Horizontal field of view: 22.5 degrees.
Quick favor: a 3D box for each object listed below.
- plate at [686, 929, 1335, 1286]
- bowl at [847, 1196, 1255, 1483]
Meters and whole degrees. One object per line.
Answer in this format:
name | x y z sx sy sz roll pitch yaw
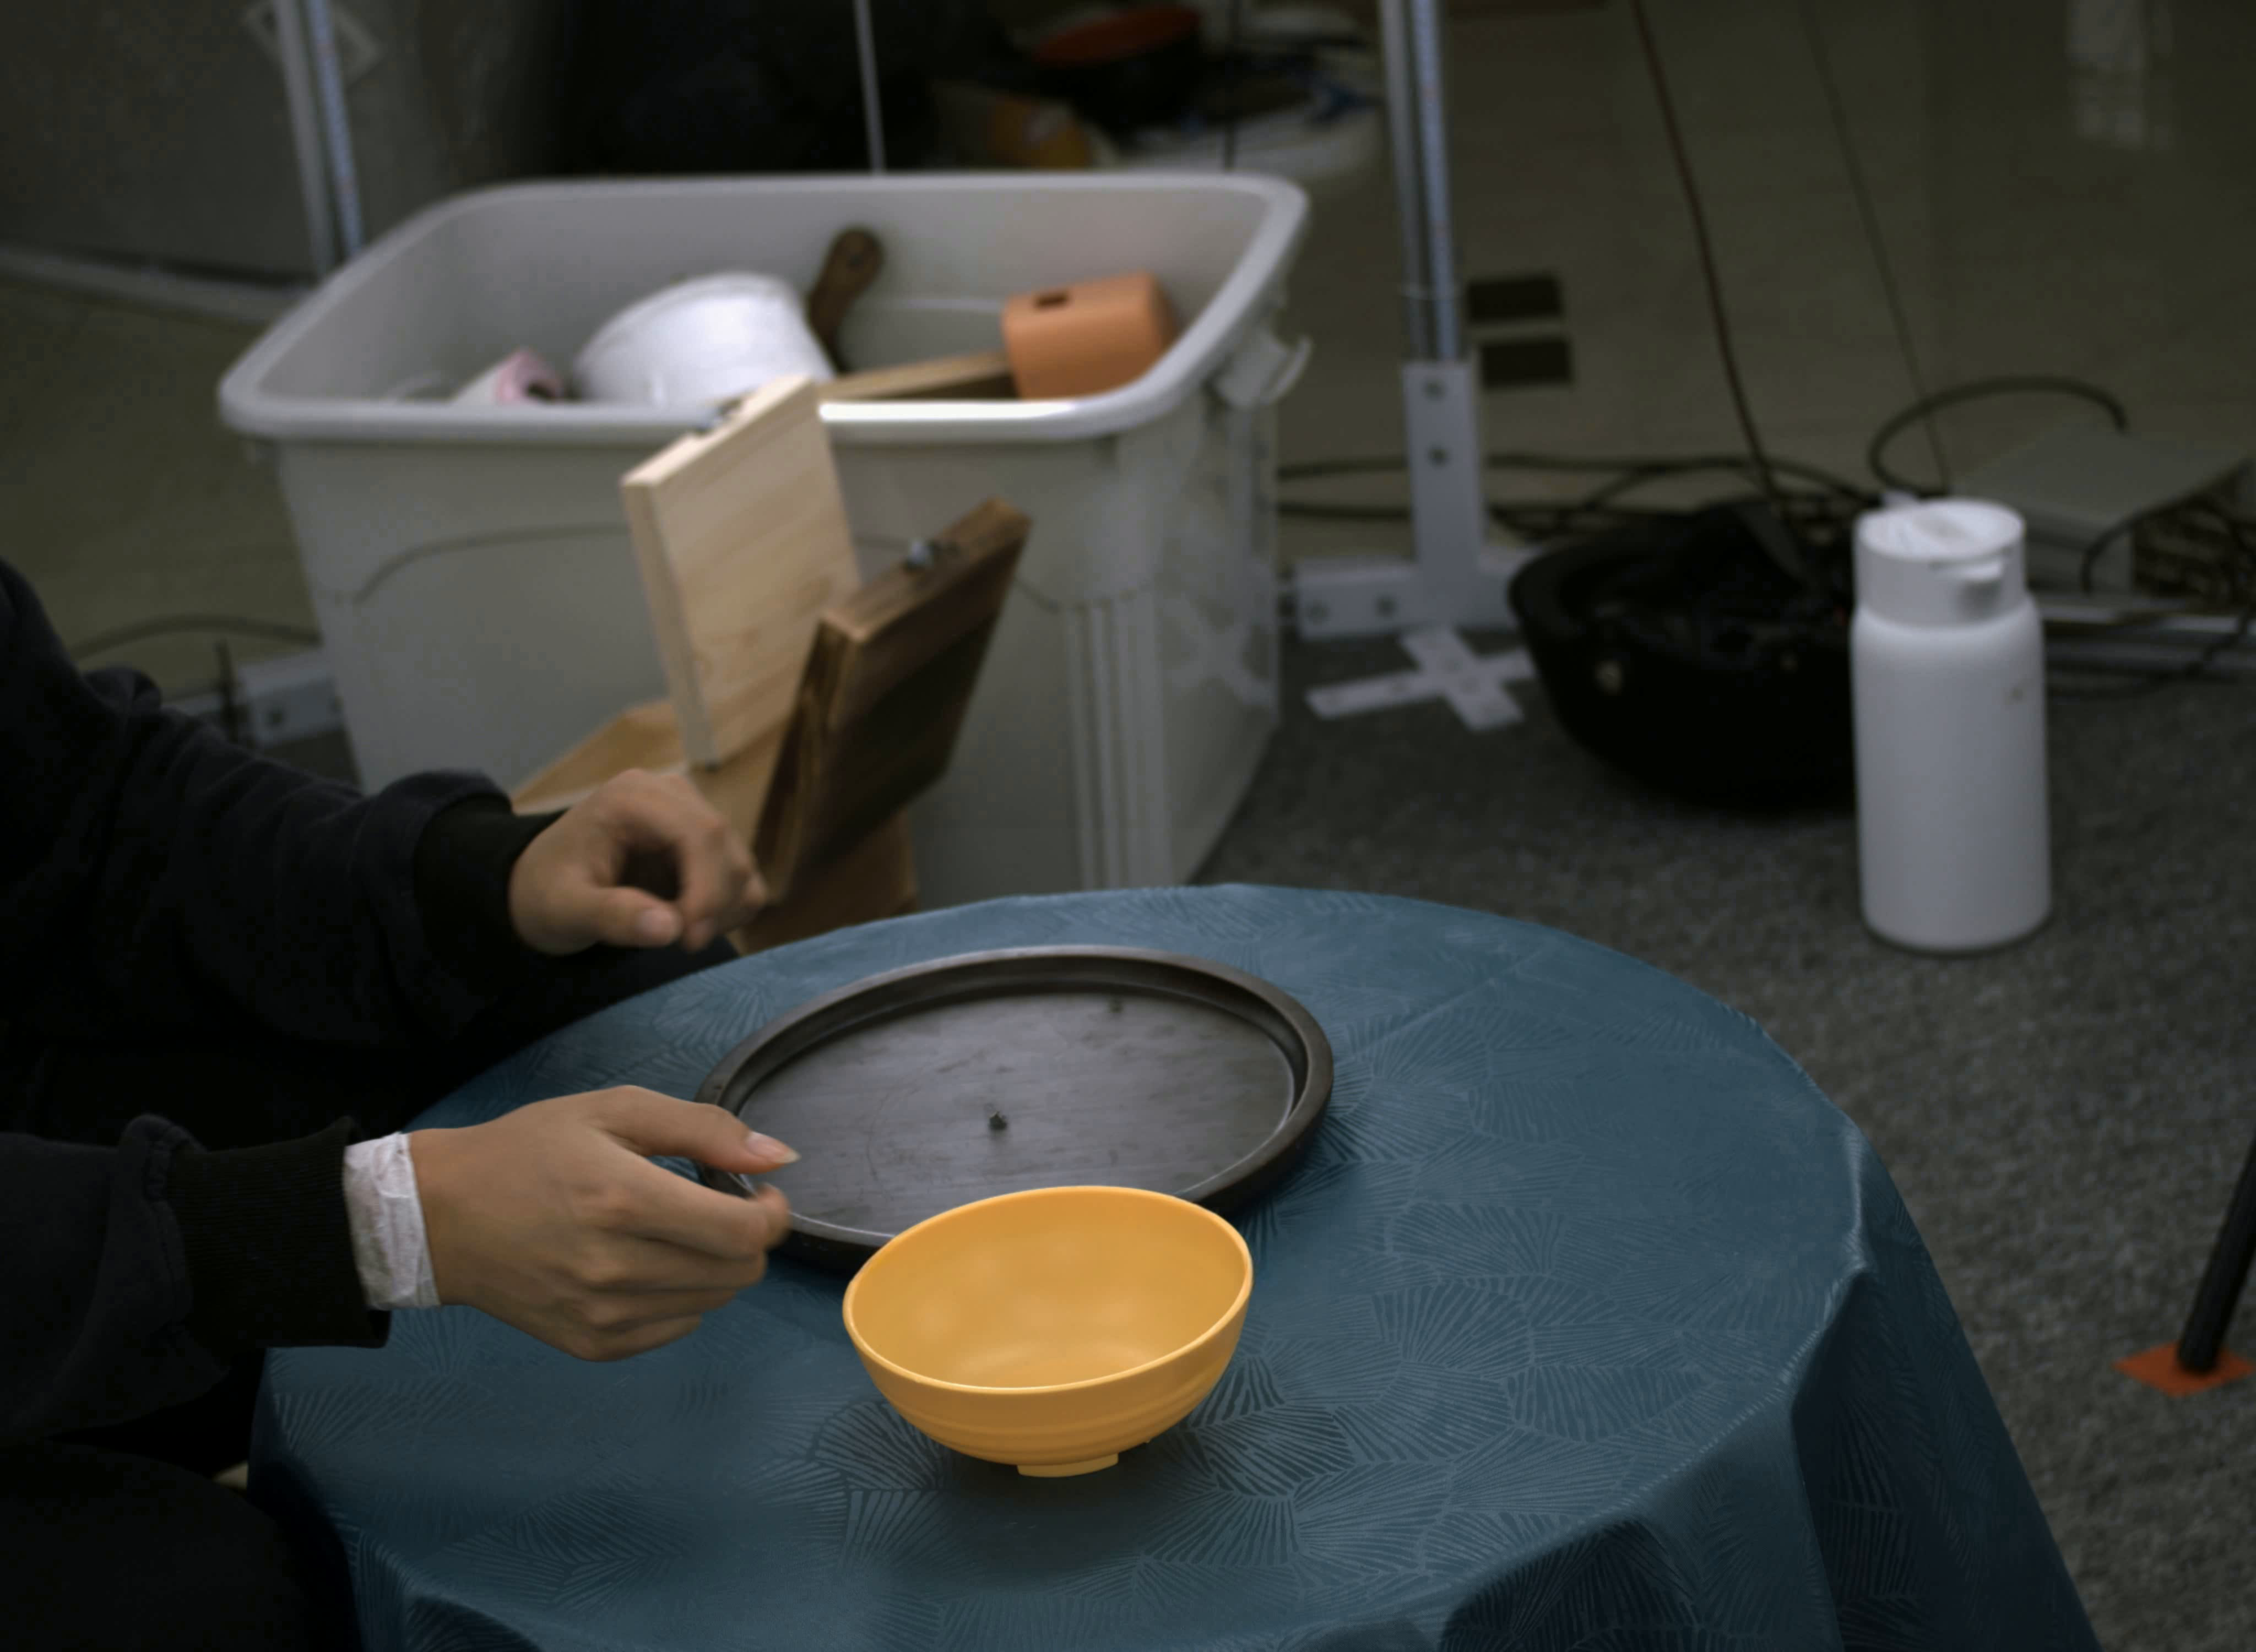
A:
plate | -0.045 0.112 2.196 0.254 0.029 0.251 -6 26 3
bowl | -0.023 0.188 1.987 0.145 0.061 0.143 -8 24 4
